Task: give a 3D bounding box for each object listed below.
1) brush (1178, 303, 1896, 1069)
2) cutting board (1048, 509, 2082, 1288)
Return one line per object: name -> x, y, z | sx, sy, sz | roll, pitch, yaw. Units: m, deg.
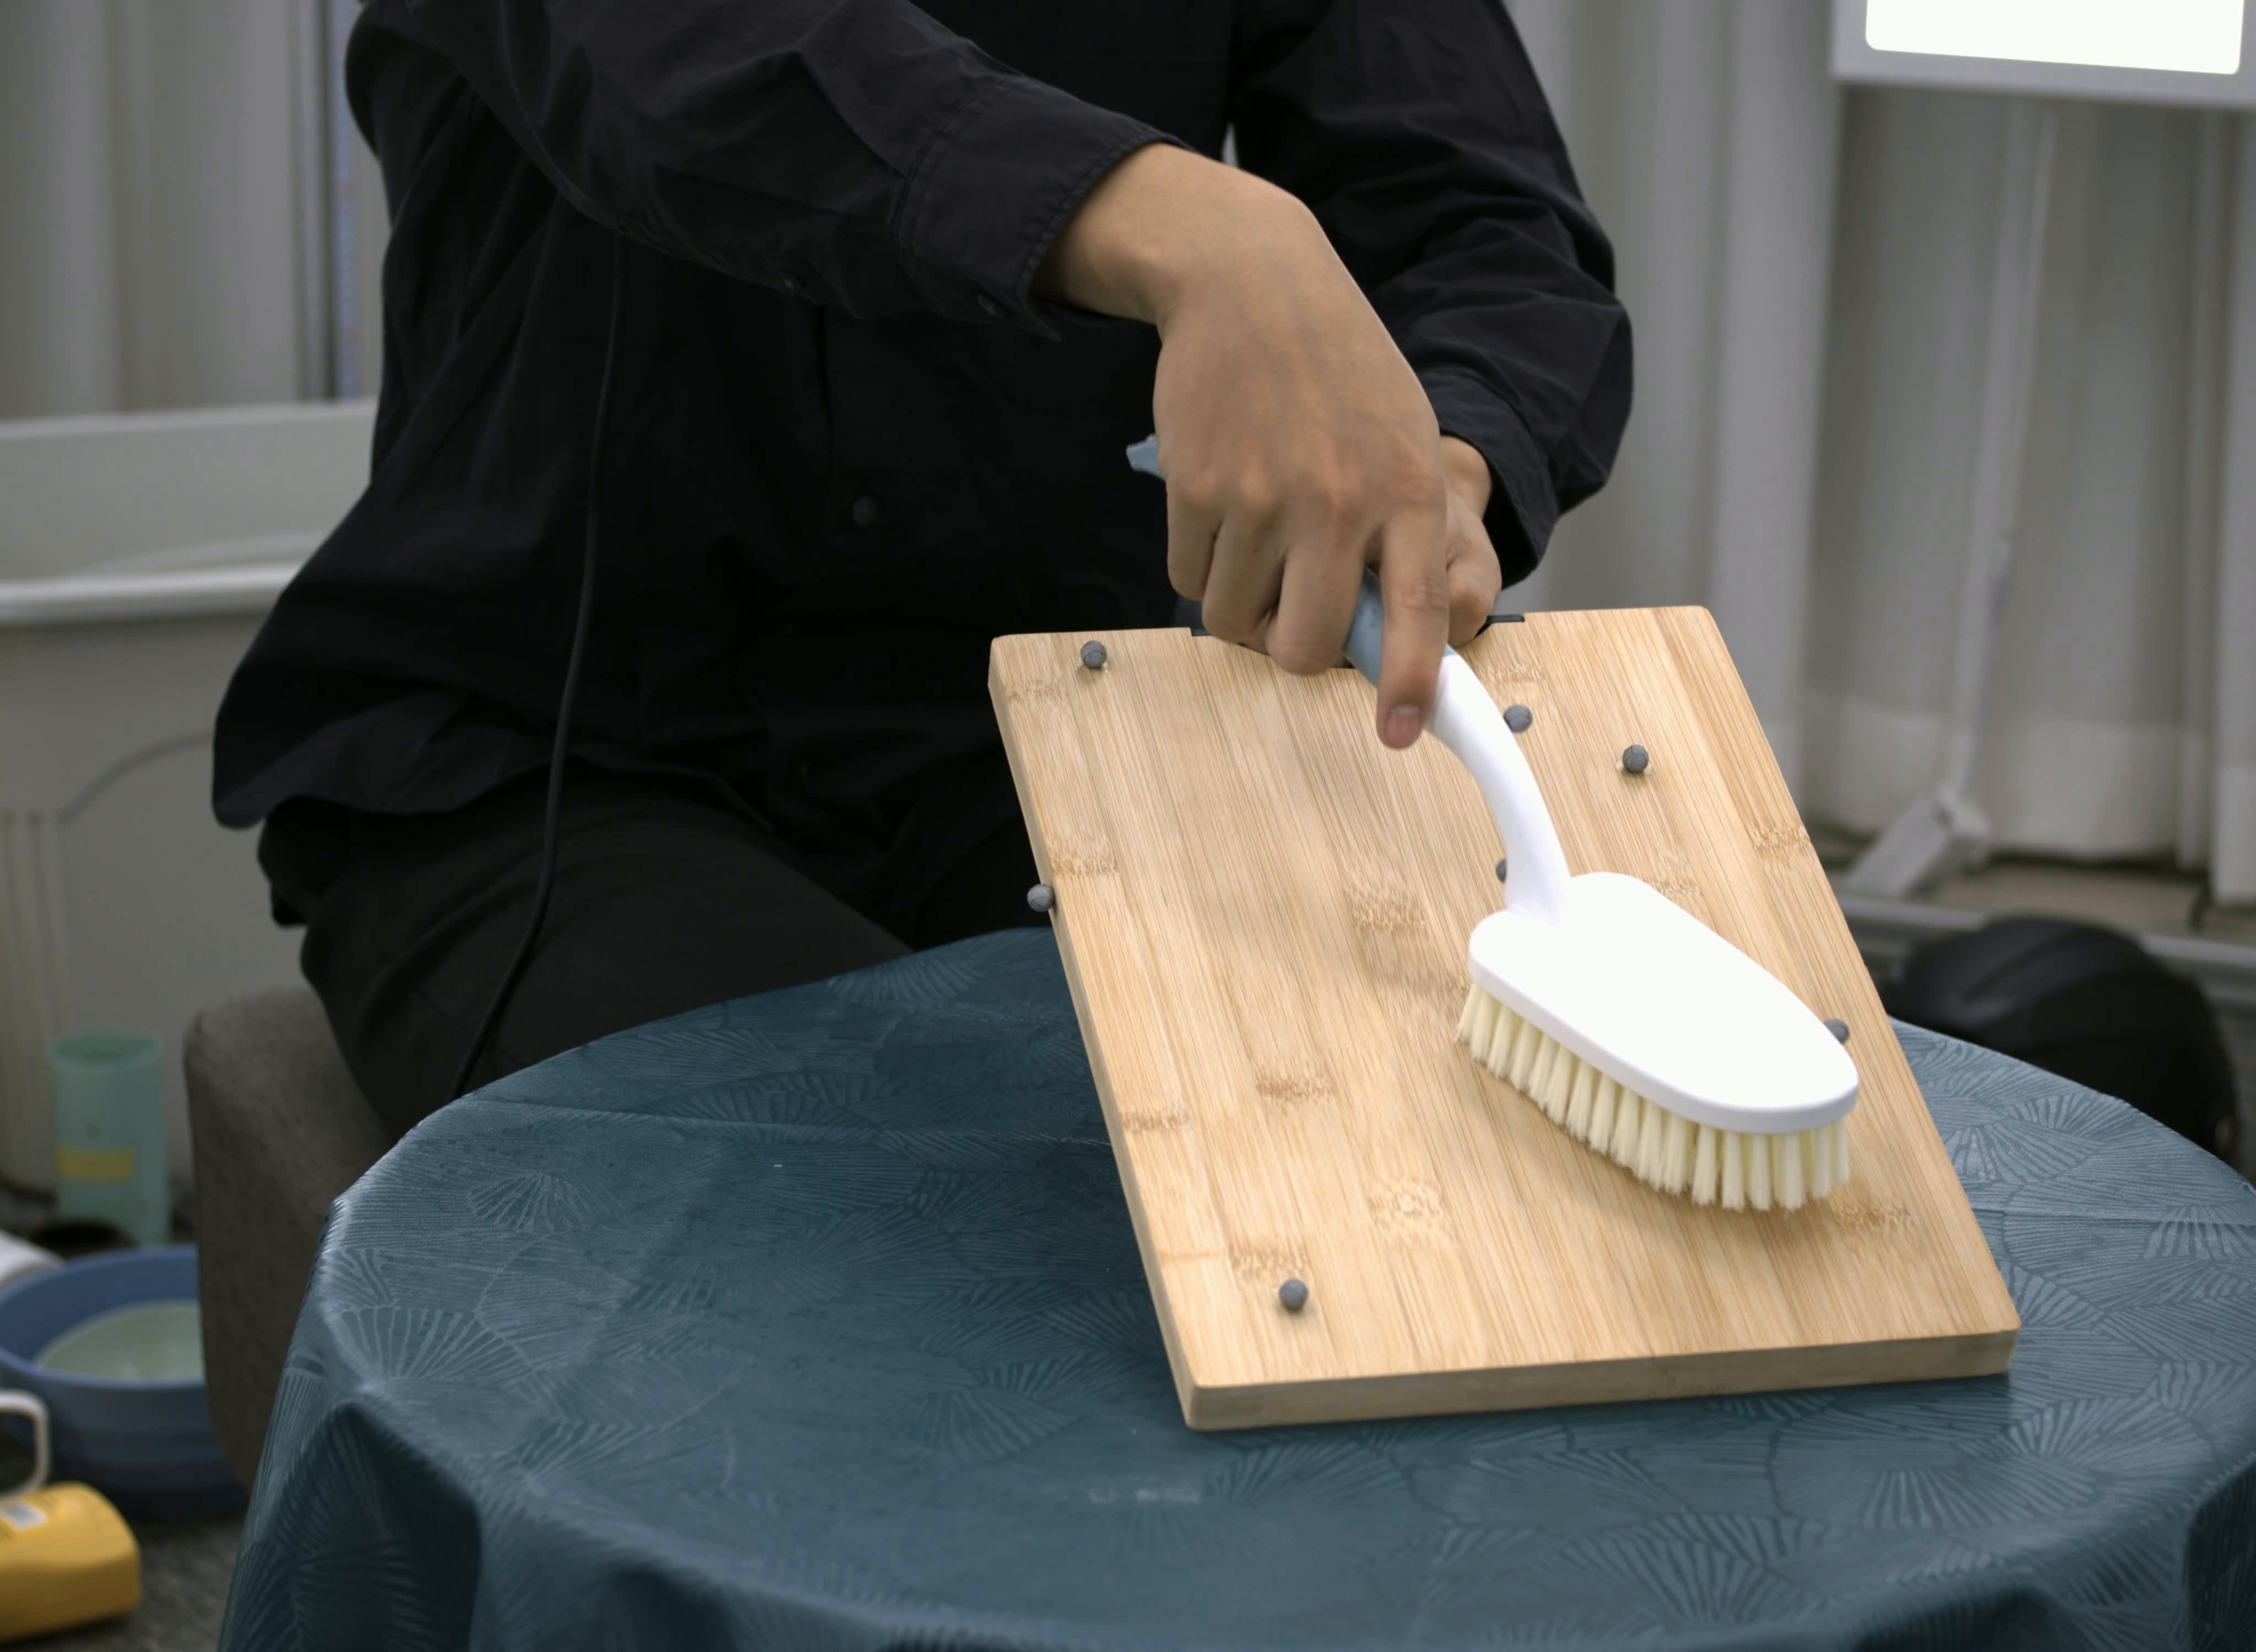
brush -> 0.117, -0.035, 1.601 | 0.322, 0.084, 0.084 | 46, 15, 27
cutting board -> 0.124, 0.014, 1.616 | 0.251, 0.024, 0.344 | -3, 40, -14
